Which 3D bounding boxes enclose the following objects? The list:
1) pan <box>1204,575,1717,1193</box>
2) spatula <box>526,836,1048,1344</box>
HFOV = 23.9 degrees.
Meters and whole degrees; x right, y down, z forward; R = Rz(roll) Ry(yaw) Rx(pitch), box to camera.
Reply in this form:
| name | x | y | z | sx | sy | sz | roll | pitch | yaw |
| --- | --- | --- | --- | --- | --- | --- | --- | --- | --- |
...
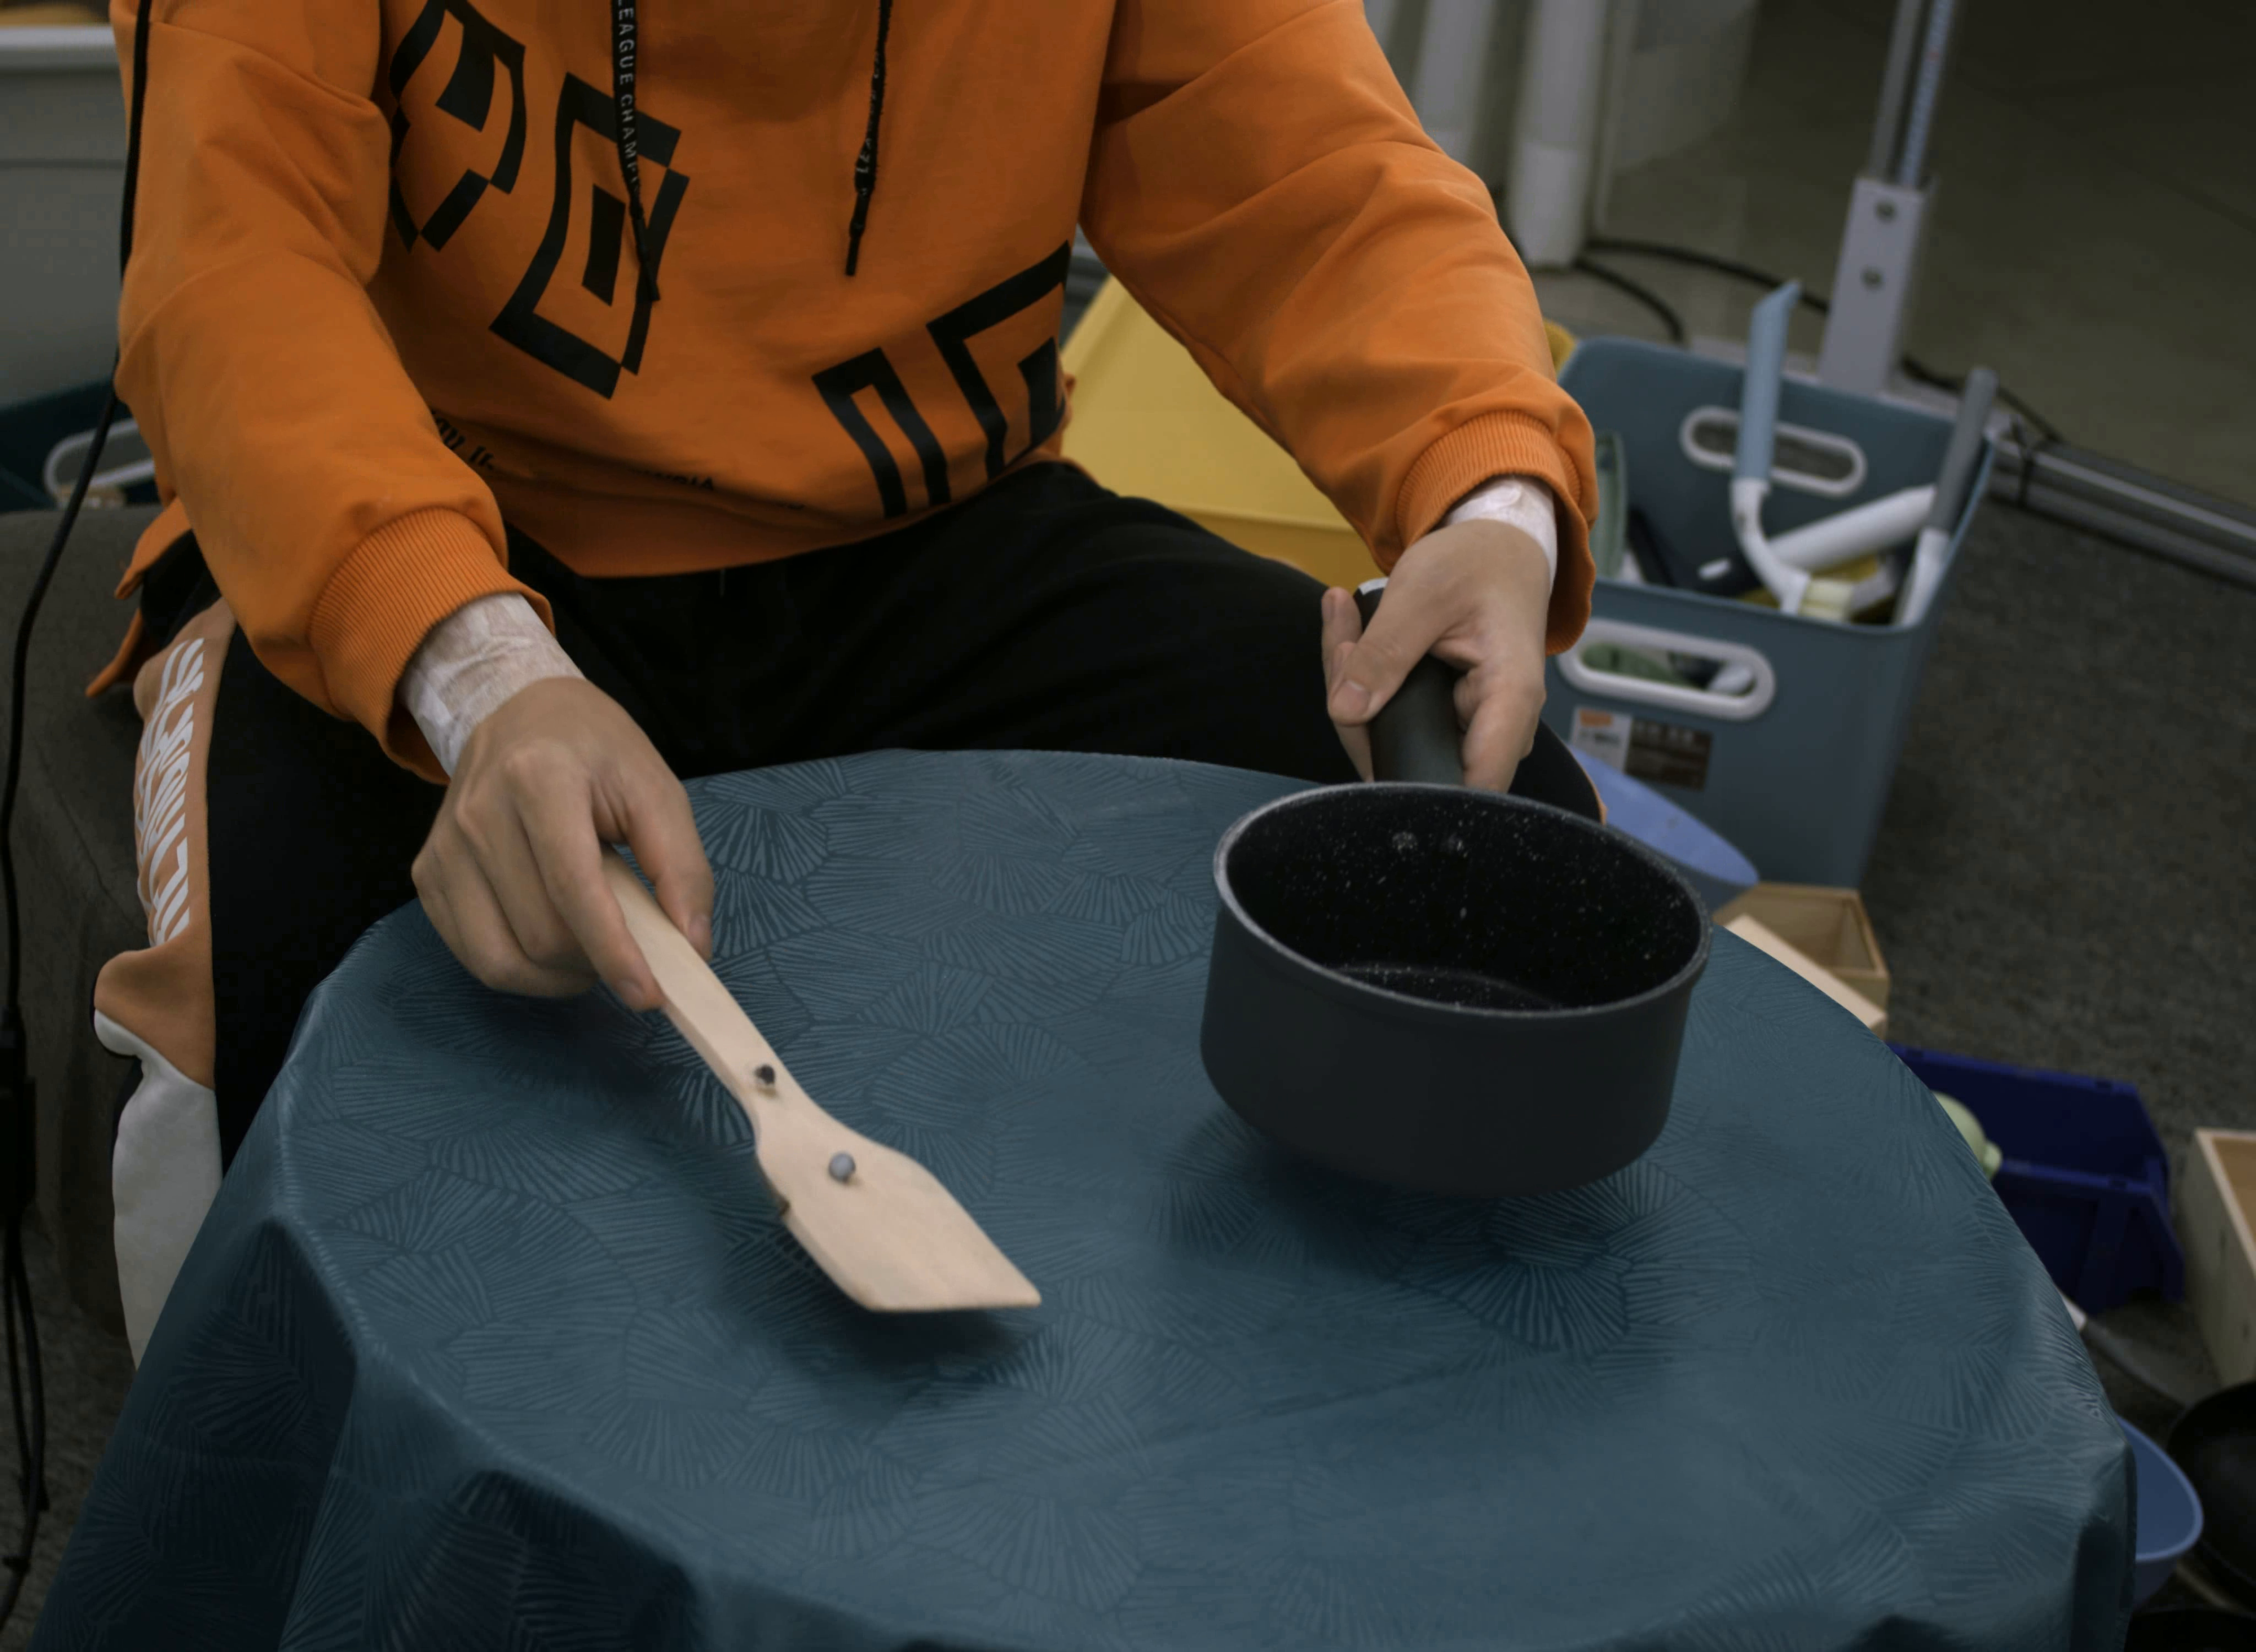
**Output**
| name | x | y | z | sx | sy | sz | roll | pitch | yaw |
| --- | --- | --- | --- | --- | --- | --- | --- | --- | --- |
| pan | 0.109 | 0.016 | 1.880 | 0.171 | 0.086 | 0.331 | 6 | 27 | -3 |
| spatula | -0.128 | 0.085 | 1.783 | 0.071 | 0.010 | 0.296 | -1 | 33 | -38 |
